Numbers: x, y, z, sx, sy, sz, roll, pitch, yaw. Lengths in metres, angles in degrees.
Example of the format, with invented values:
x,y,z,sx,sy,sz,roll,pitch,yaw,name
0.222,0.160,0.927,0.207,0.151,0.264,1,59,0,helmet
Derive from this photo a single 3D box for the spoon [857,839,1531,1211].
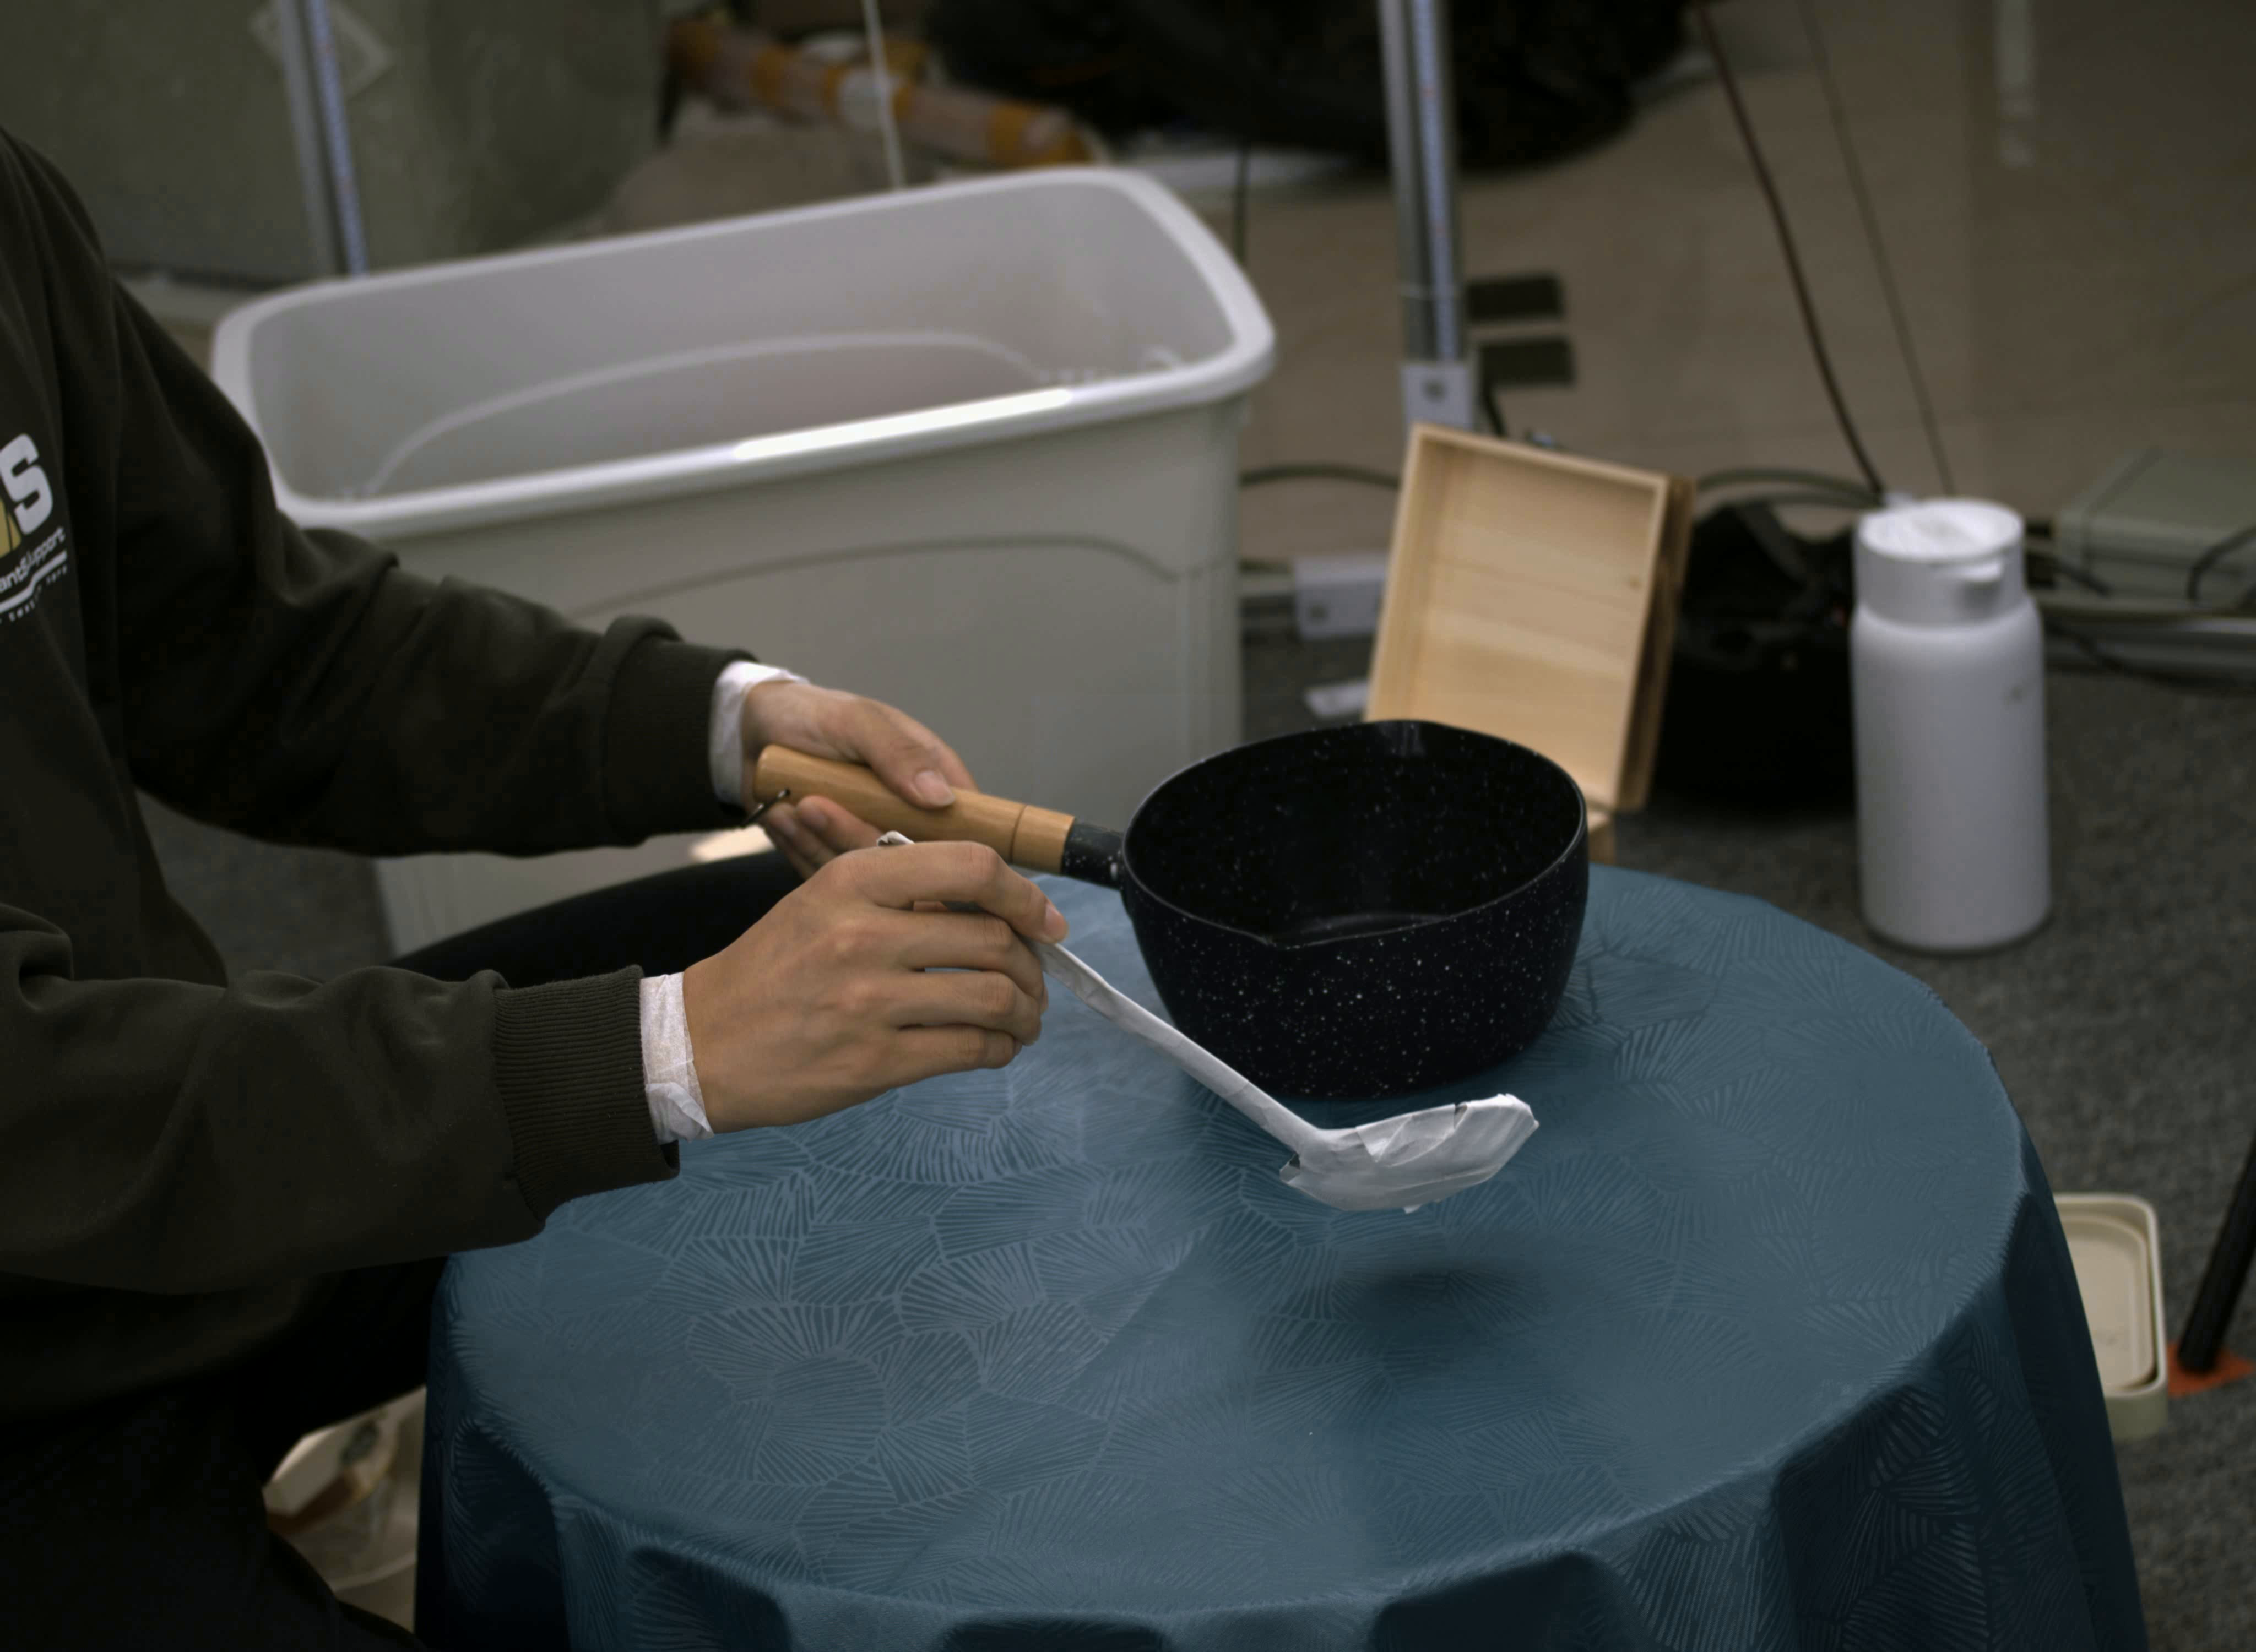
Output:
x,y,z,sx,sy,sz,roll,pitch,yaw,name
0.020,0.063,1.995,0.101,0.279,0.058,-33,30,45,spoon

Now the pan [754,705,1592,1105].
x,y,z,sx,sy,sz,roll,pitch,yaw,name
0.015,0.023,2.258,0.342,0.110,0.204,3,30,15,pan
